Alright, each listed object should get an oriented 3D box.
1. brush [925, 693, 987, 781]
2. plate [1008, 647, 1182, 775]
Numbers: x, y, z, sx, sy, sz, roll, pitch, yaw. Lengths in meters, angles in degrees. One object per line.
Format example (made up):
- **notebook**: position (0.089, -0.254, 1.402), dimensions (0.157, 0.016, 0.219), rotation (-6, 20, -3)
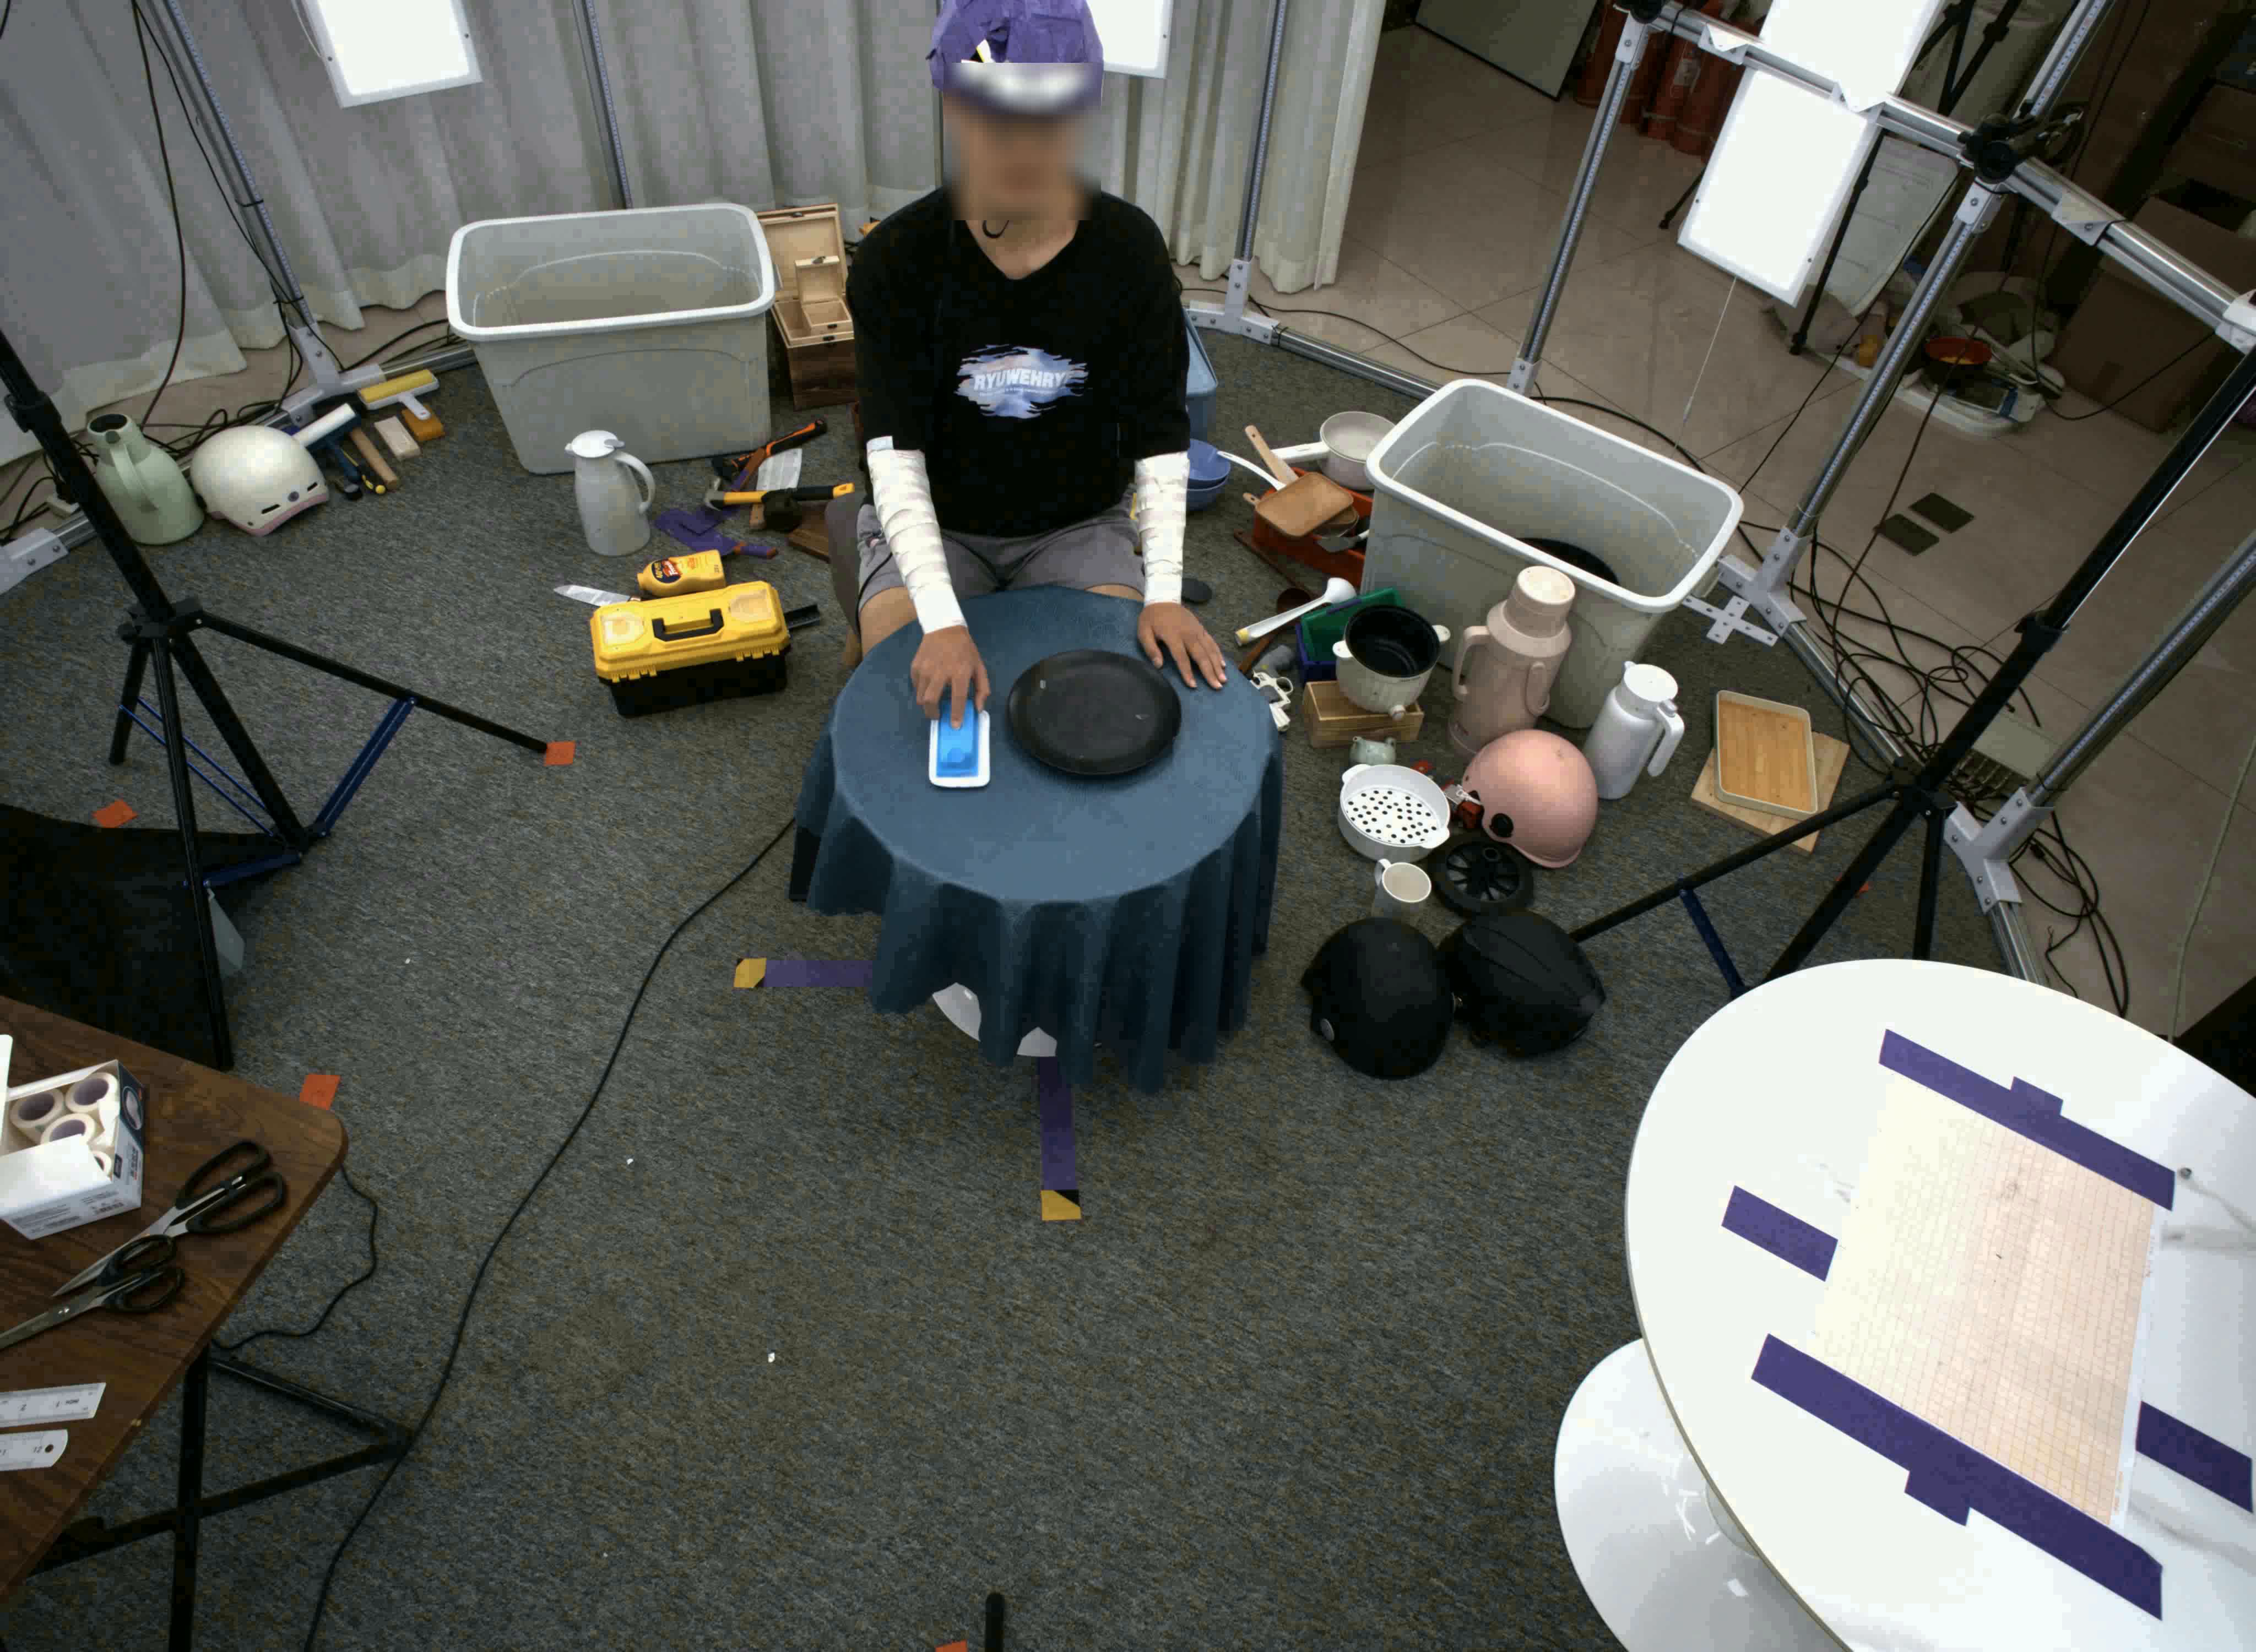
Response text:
- **brush**: position (-0.231, -0.127, 1.728), dimensions (0.083, 0.054, 0.147), rotation (1, 52, -8)
- **plate**: position (-0.046, -0.158, 1.791), dimensions (0.244, 0.023, 0.250), rotation (2, 50, -2)
